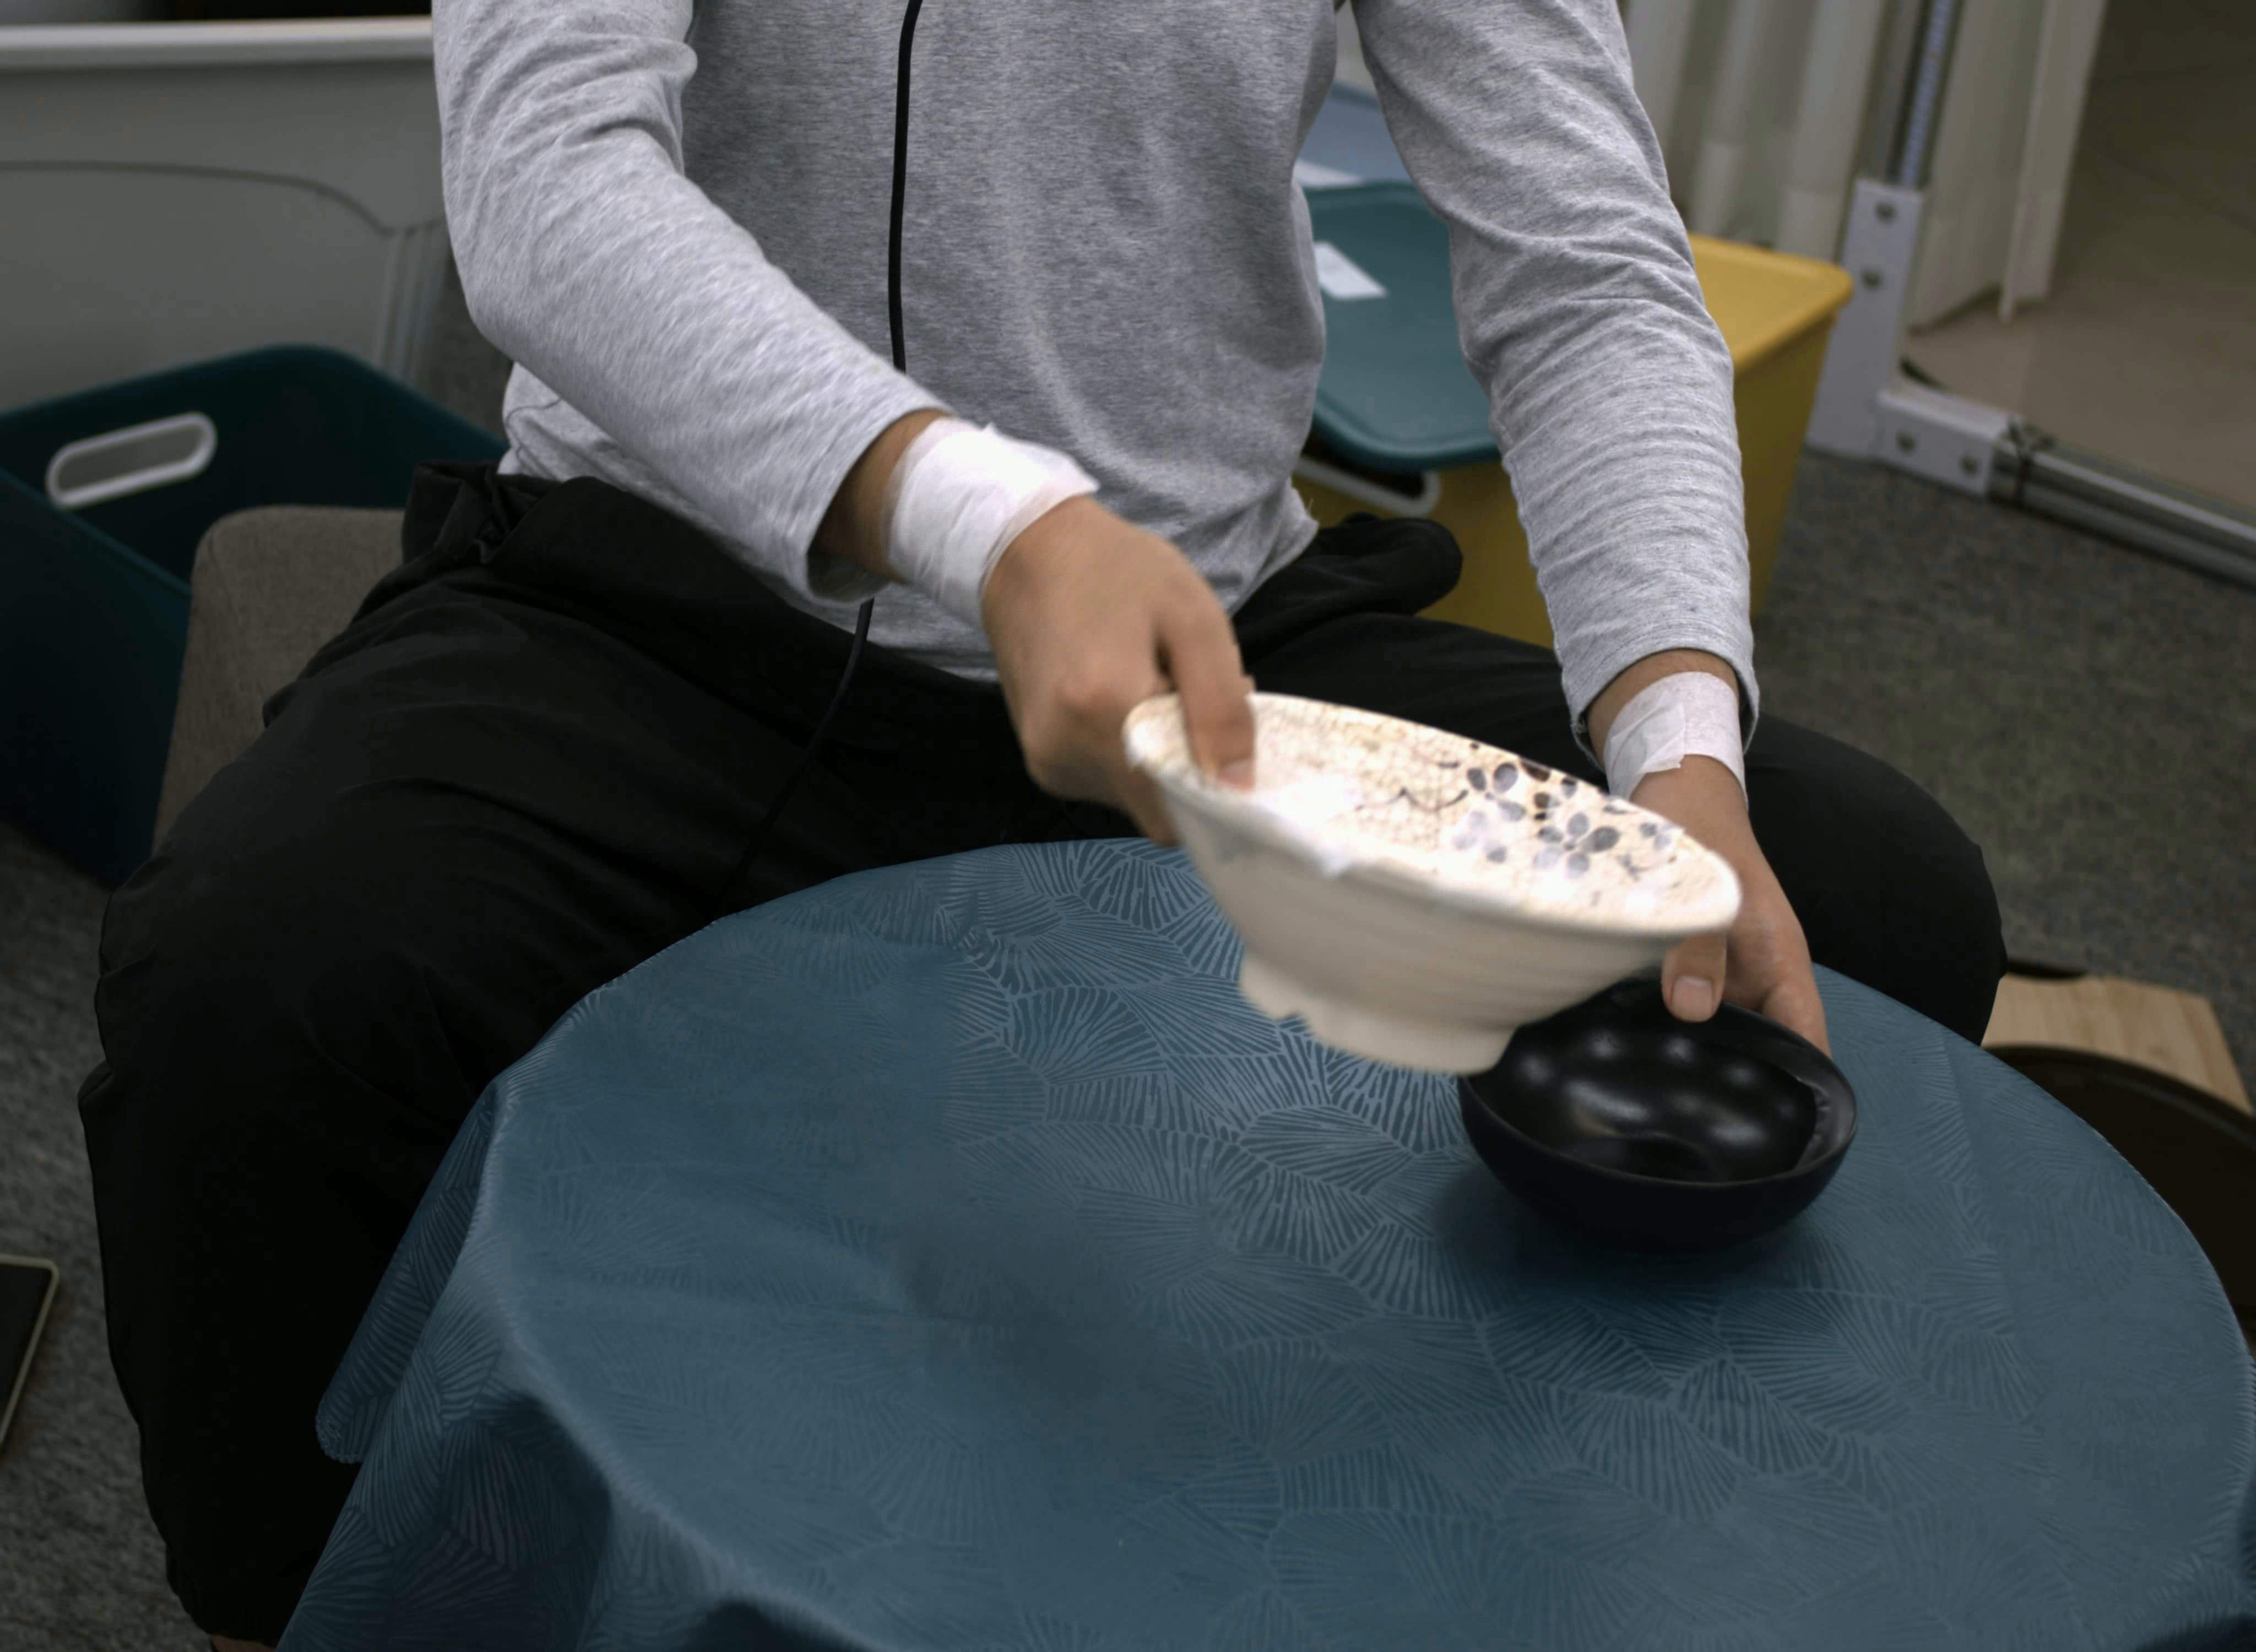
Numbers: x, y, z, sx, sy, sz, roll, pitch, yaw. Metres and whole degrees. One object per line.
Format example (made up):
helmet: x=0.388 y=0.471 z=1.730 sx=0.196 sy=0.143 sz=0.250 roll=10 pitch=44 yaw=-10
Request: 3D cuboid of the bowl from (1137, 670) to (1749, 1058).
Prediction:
bowl: x=0.089 y=0.022 z=1.689 sx=0.203 sy=0.078 sz=0.204 roll=16 pitch=12 yaw=-4

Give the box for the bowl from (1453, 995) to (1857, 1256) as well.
bowl: x=0.177 y=0.110 z=1.824 sx=0.139 sy=0.049 sz=0.141 roll=6 pitch=23 yaw=-3
